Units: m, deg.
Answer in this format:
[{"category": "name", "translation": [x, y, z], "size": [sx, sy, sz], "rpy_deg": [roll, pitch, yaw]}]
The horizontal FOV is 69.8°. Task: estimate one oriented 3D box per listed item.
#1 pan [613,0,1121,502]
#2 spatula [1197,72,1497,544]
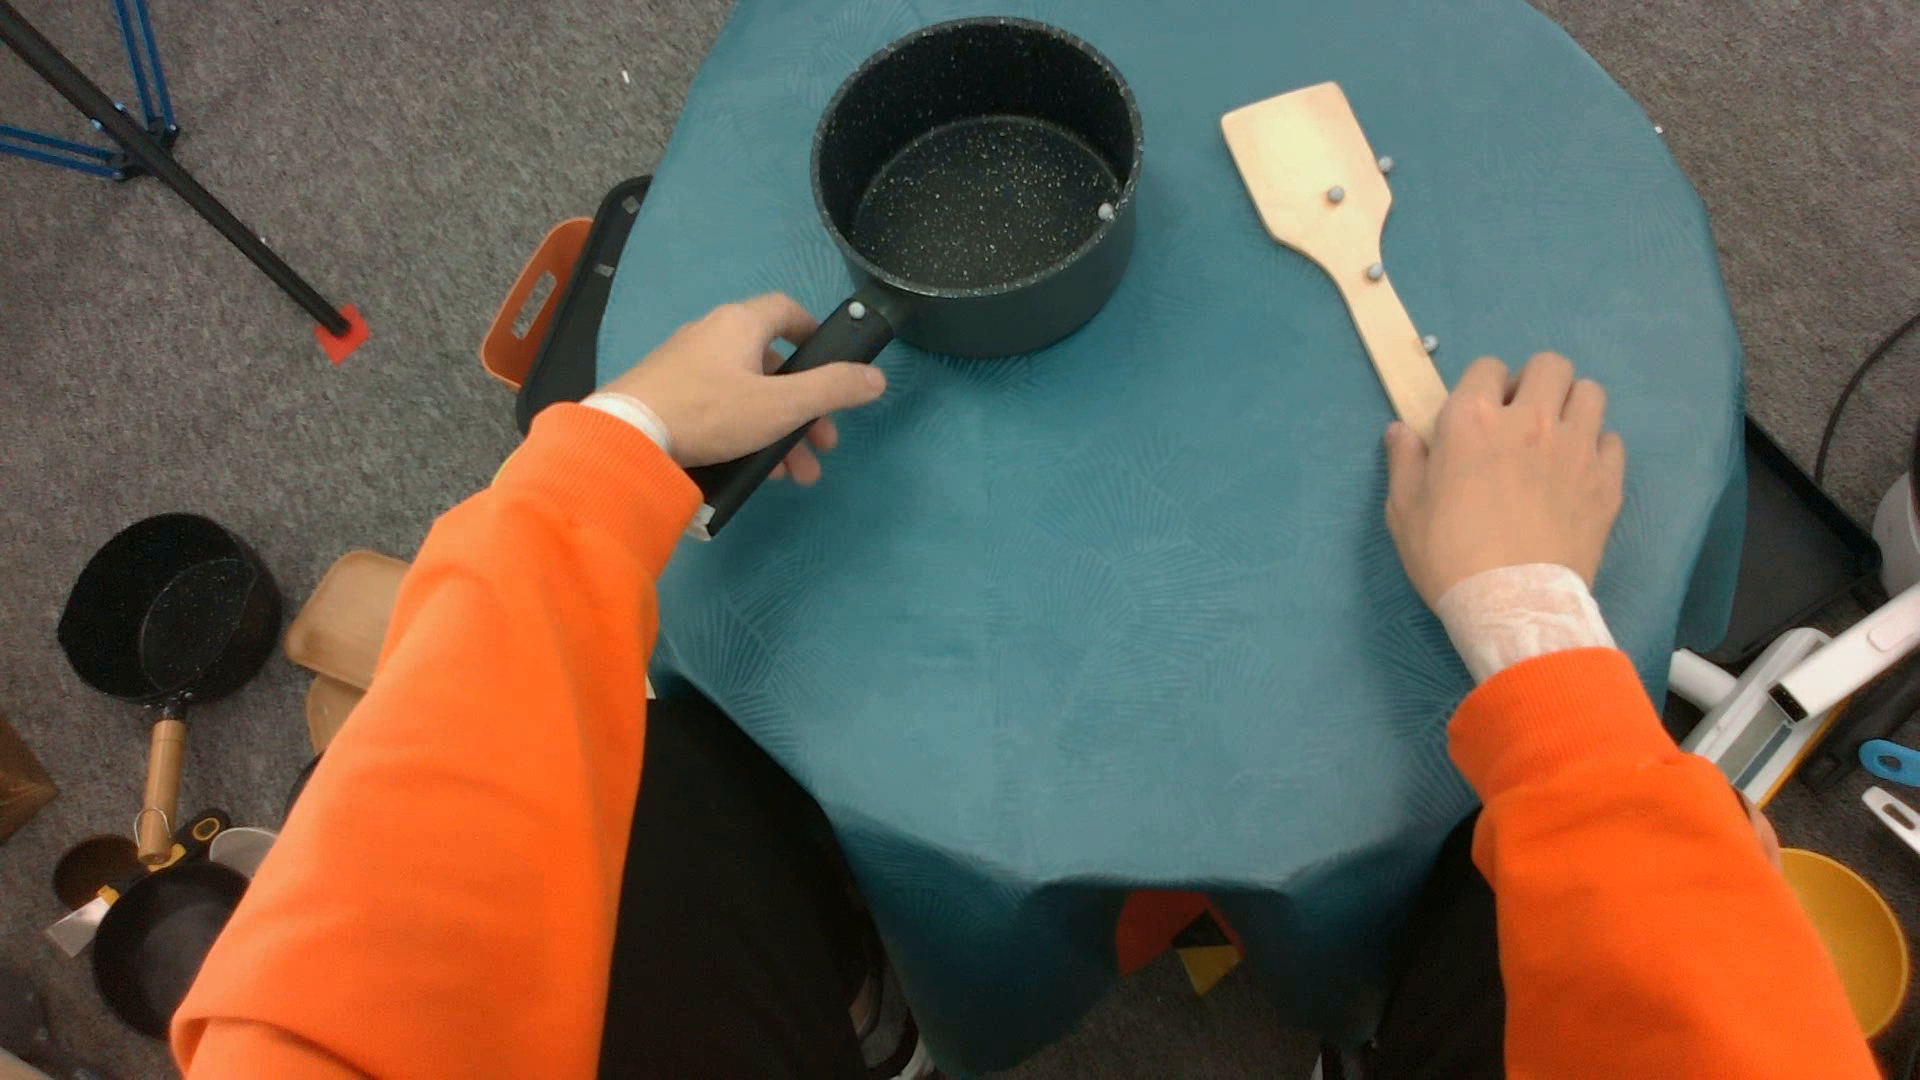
[{"category": "pan", "translation": [-0.048, -0.136, 0.712], "size": [0.172, 0.086, 0.329], "rpy_deg": [33, 74, 19]}, {"category": "spatula", "translation": [0.207, -0.127, 0.719], "size": [0.072, 0.010, 0.294], "rpy_deg": [-17, 67, -4]}]
